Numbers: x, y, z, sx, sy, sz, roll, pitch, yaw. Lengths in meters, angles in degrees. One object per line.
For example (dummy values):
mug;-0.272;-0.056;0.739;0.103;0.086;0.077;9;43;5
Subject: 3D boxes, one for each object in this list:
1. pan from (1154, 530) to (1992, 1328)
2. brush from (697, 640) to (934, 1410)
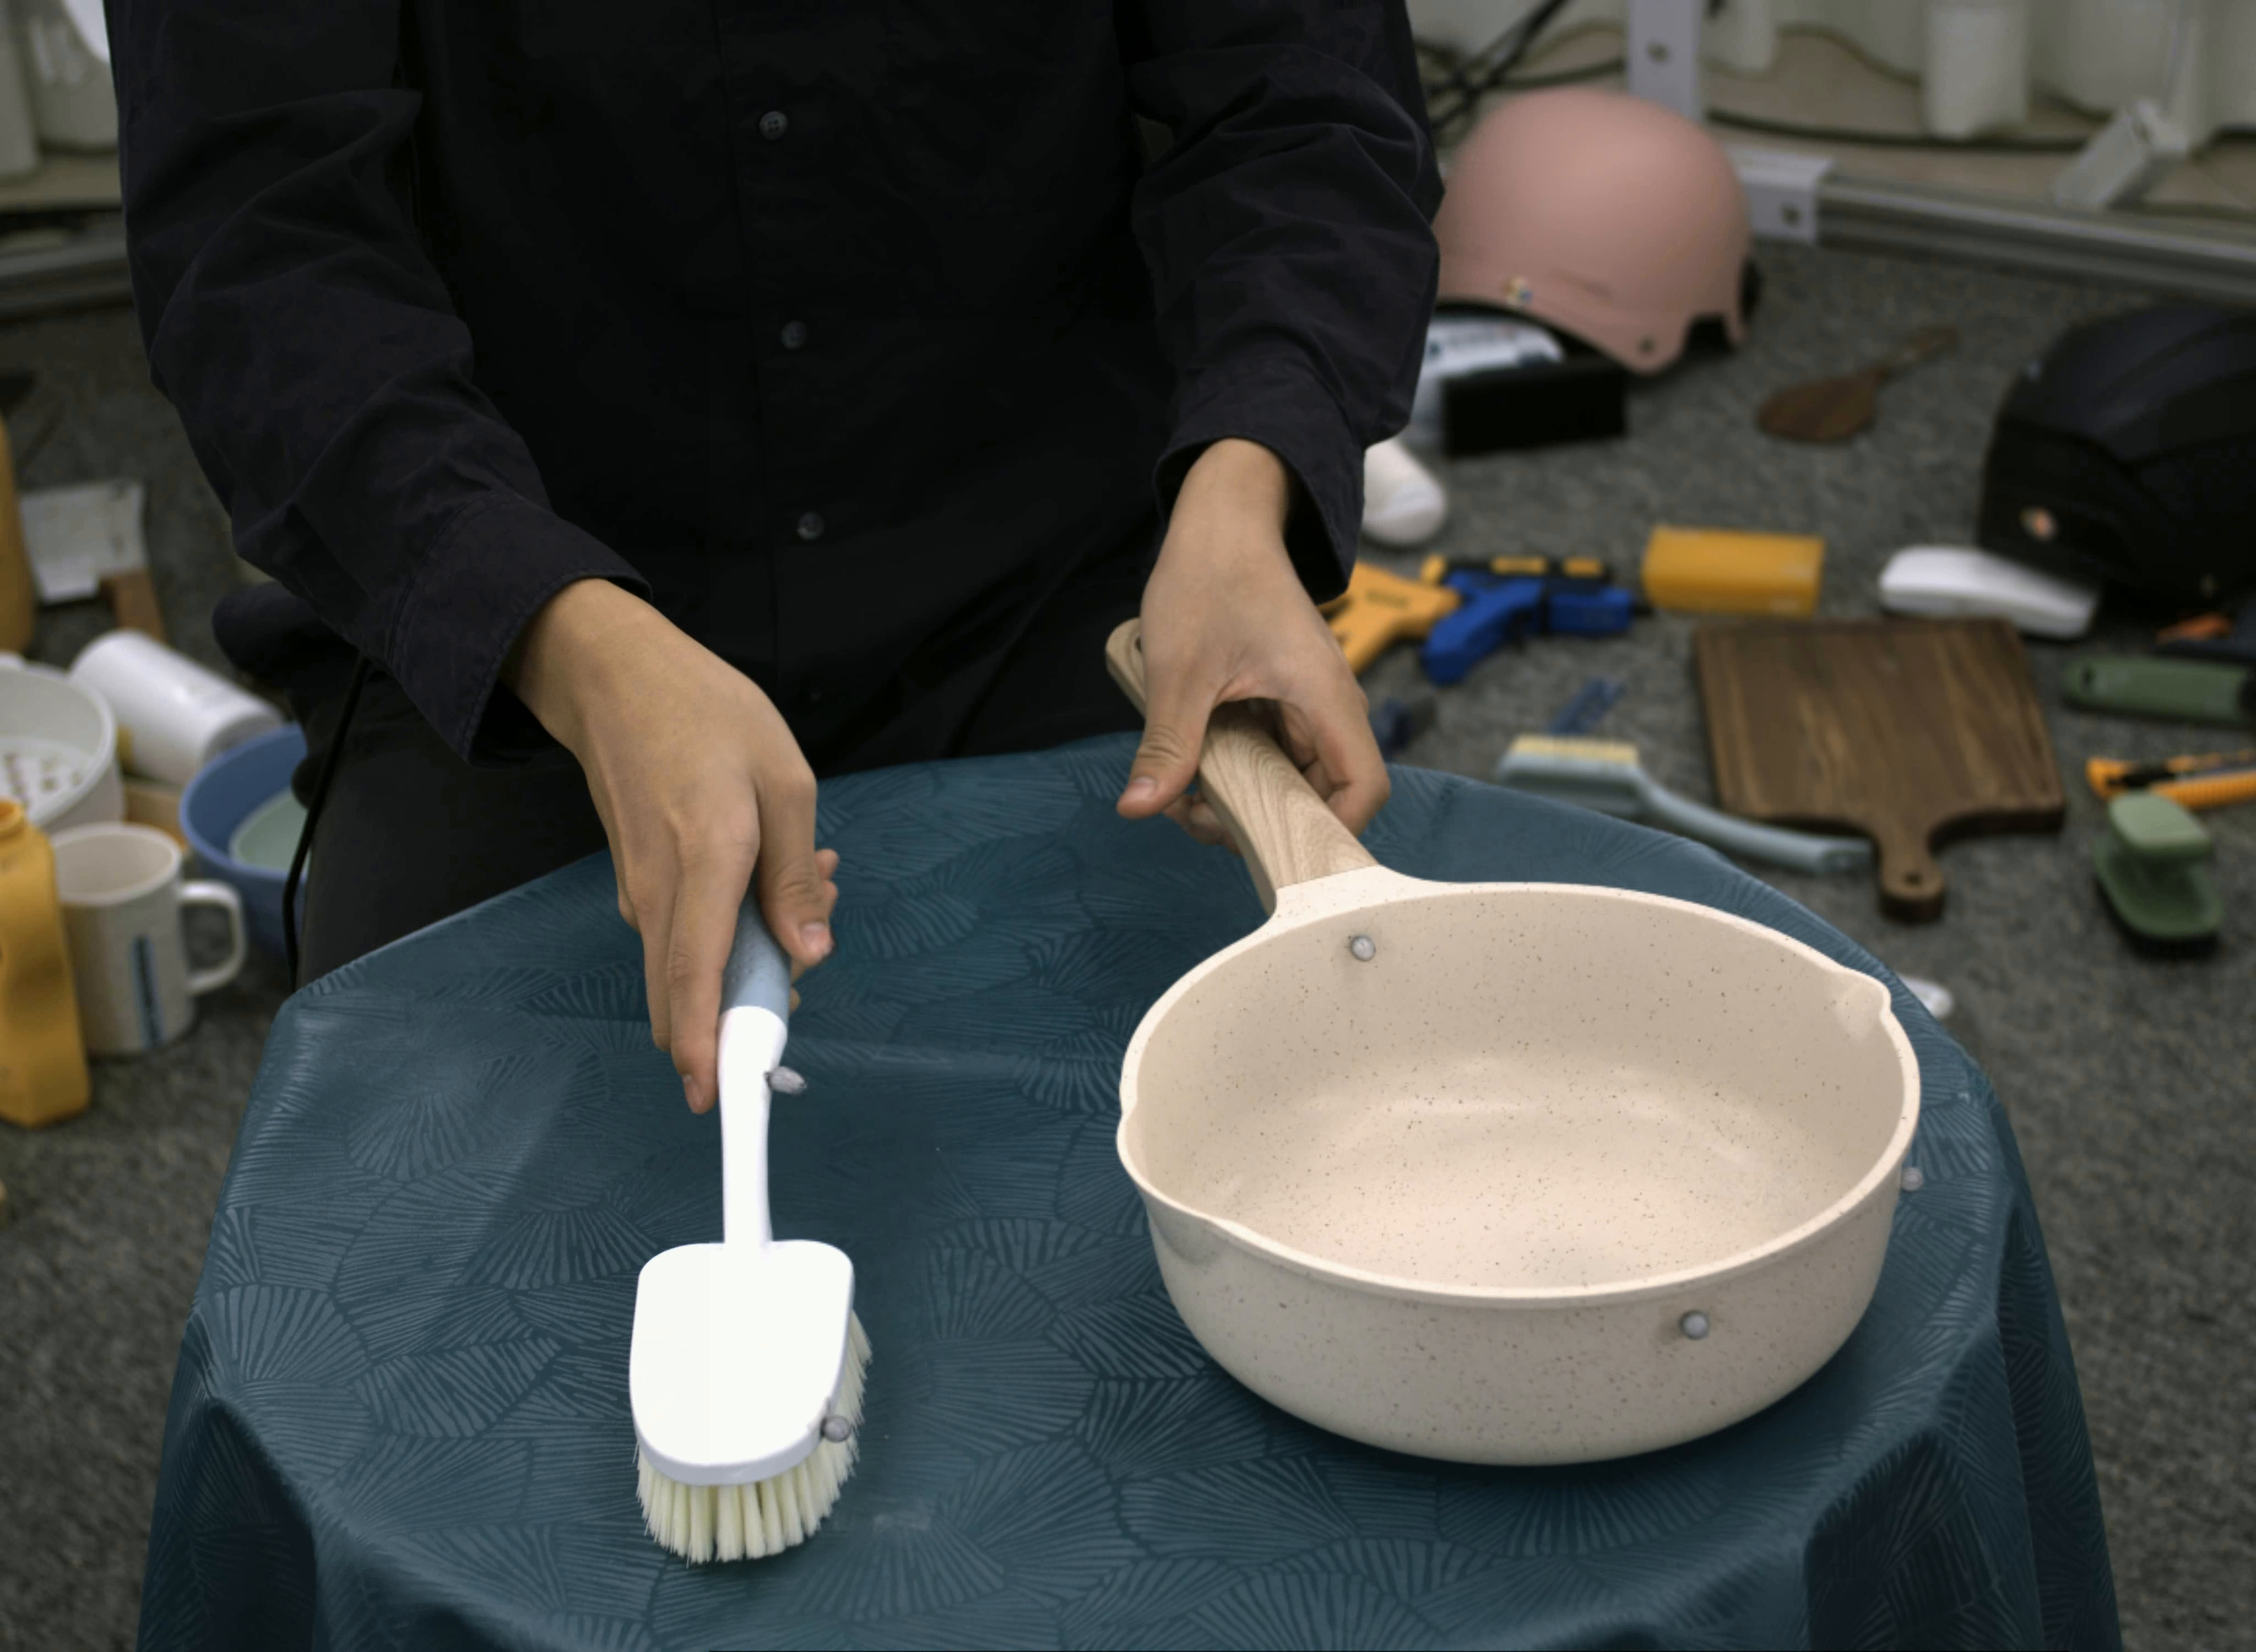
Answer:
pan;0.111;0.028;1.866;0.264;0.101;0.438;-13;30;-19
brush;-0.095;0.071;1.819;0.083;0.083;0.332;27;36;-22
